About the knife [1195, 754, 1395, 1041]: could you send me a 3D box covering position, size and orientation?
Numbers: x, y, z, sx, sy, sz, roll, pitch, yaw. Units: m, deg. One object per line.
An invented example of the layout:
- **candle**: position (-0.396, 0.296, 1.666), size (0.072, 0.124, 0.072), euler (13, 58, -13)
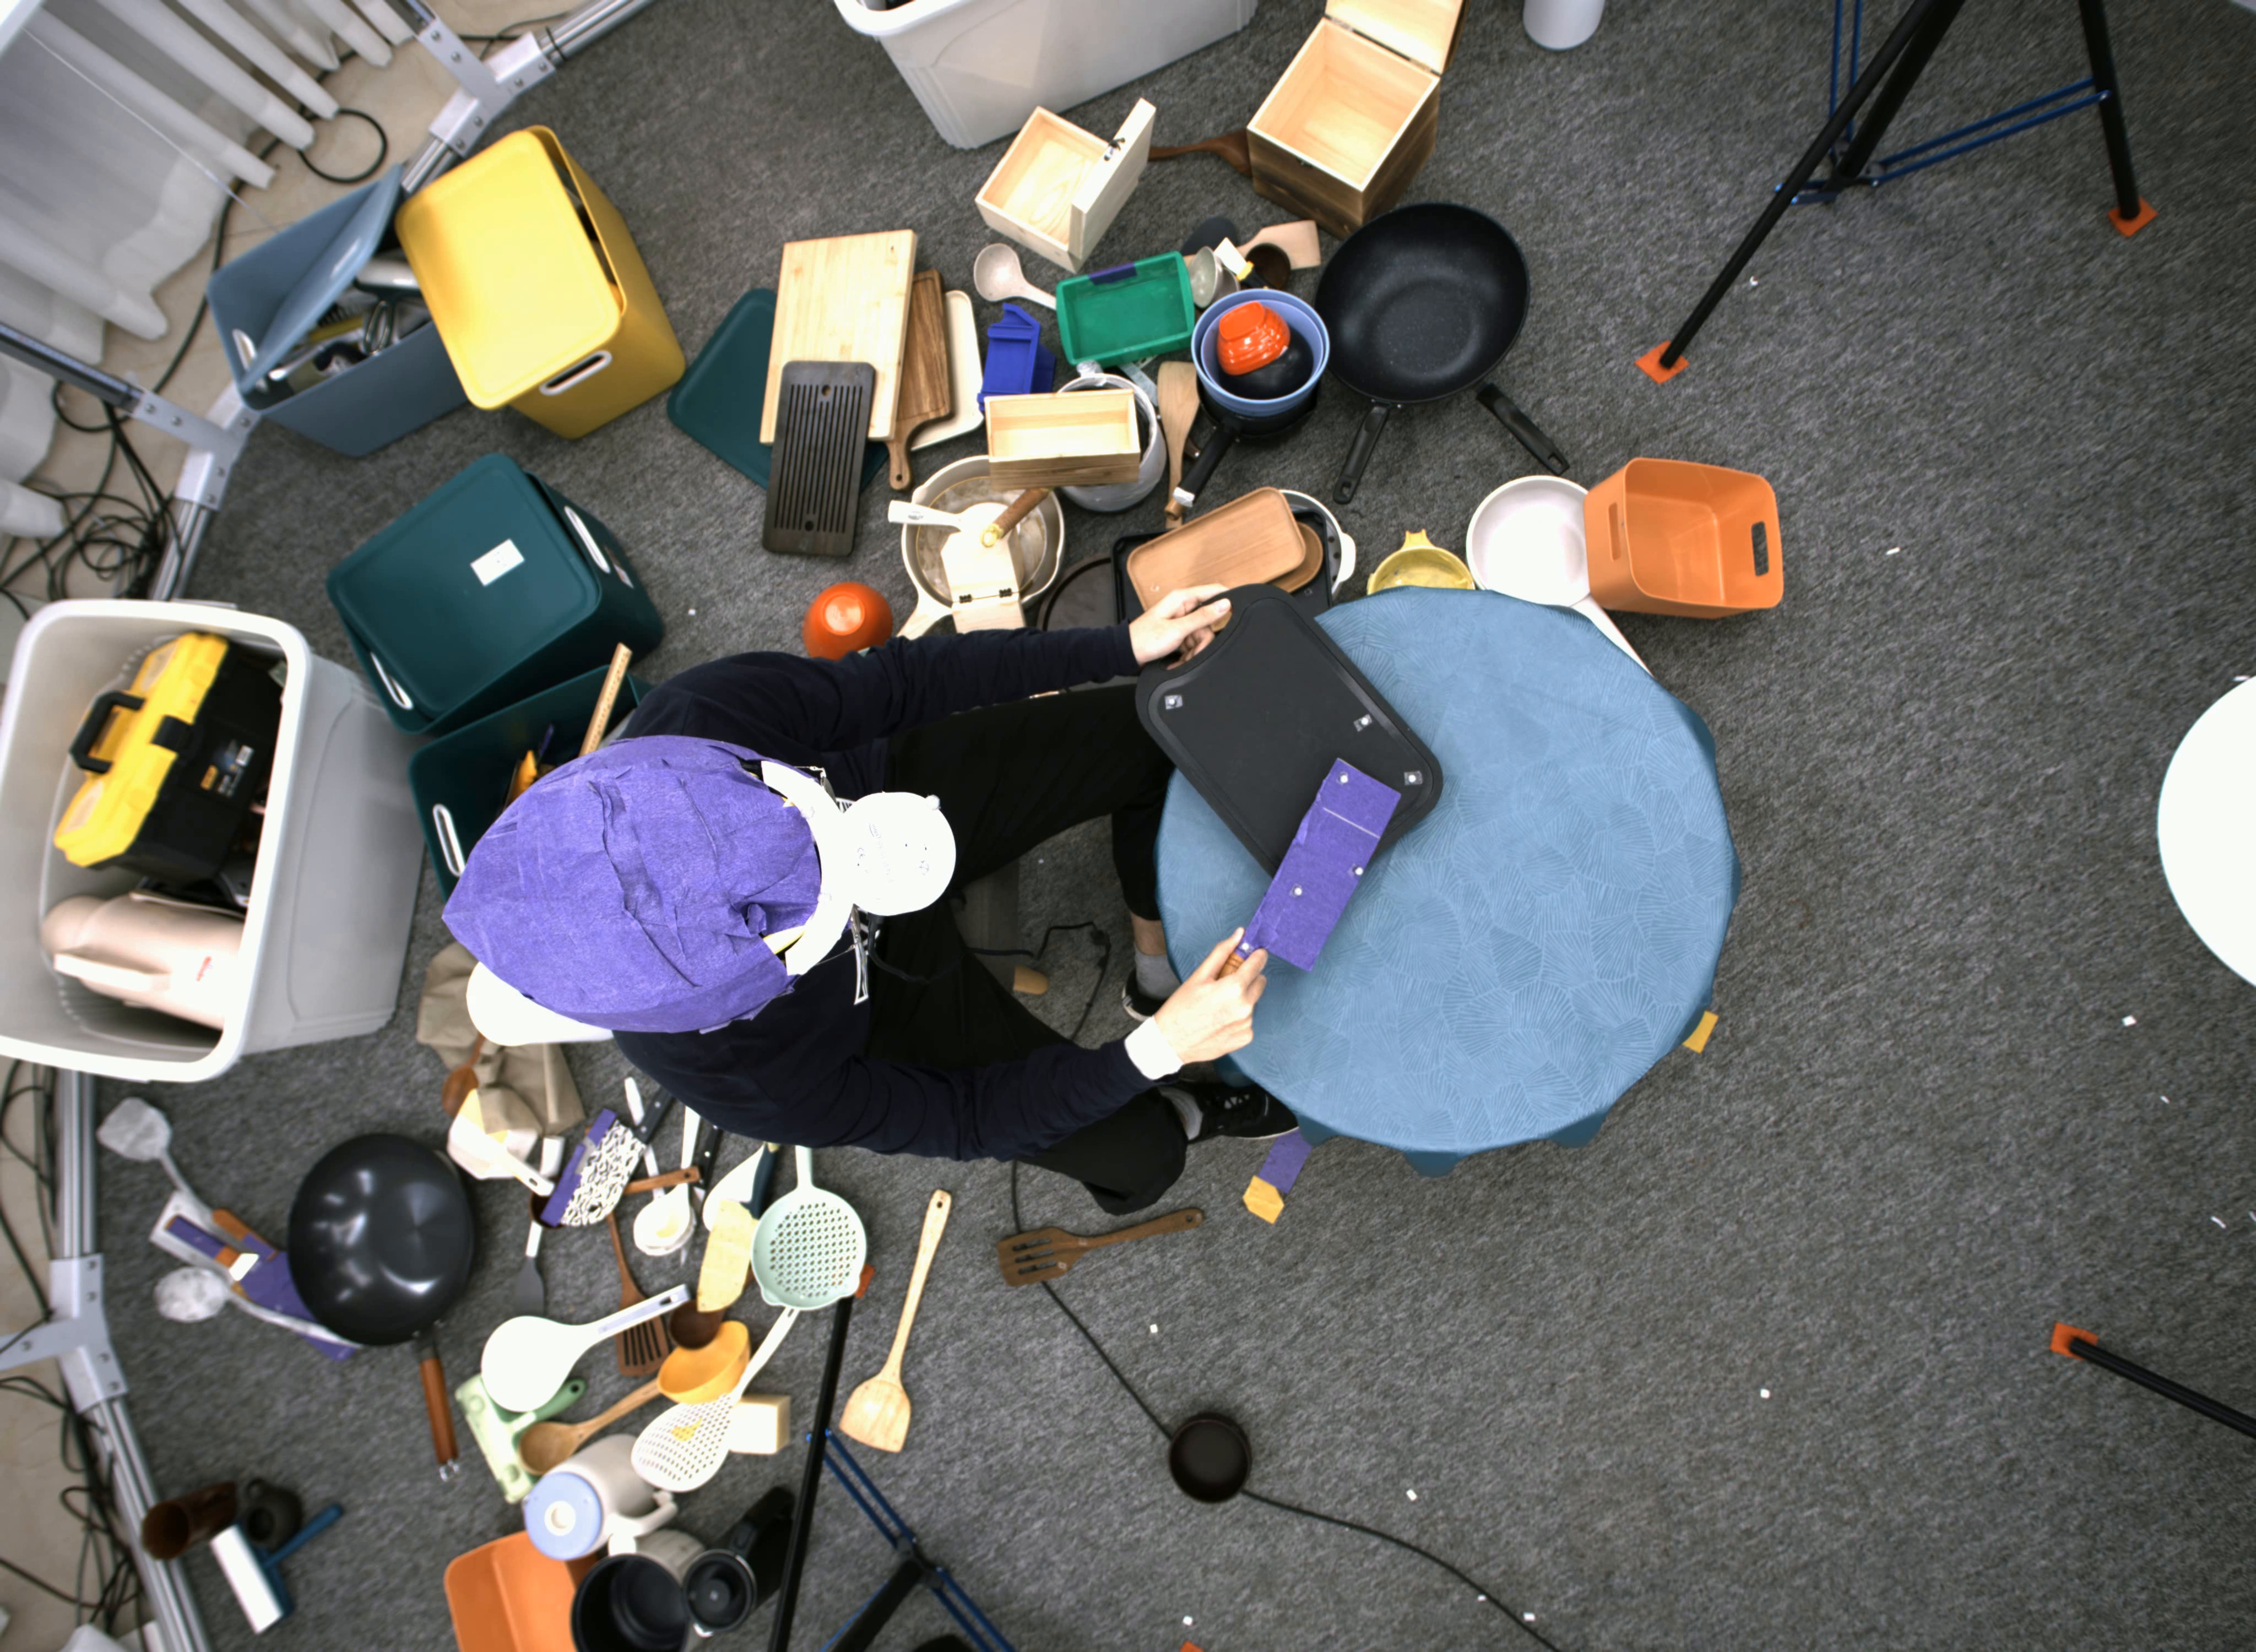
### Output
- **knife**: position (0.175, 0.085, 1.402), size (0.104, 0.032, 0.316), euler (26, 95, -24)

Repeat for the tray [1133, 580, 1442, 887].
- **tray**: position (0.158, -0.097, 1.436), size (0.213, 0.010, 0.325), euler (-41, 87, 11)
